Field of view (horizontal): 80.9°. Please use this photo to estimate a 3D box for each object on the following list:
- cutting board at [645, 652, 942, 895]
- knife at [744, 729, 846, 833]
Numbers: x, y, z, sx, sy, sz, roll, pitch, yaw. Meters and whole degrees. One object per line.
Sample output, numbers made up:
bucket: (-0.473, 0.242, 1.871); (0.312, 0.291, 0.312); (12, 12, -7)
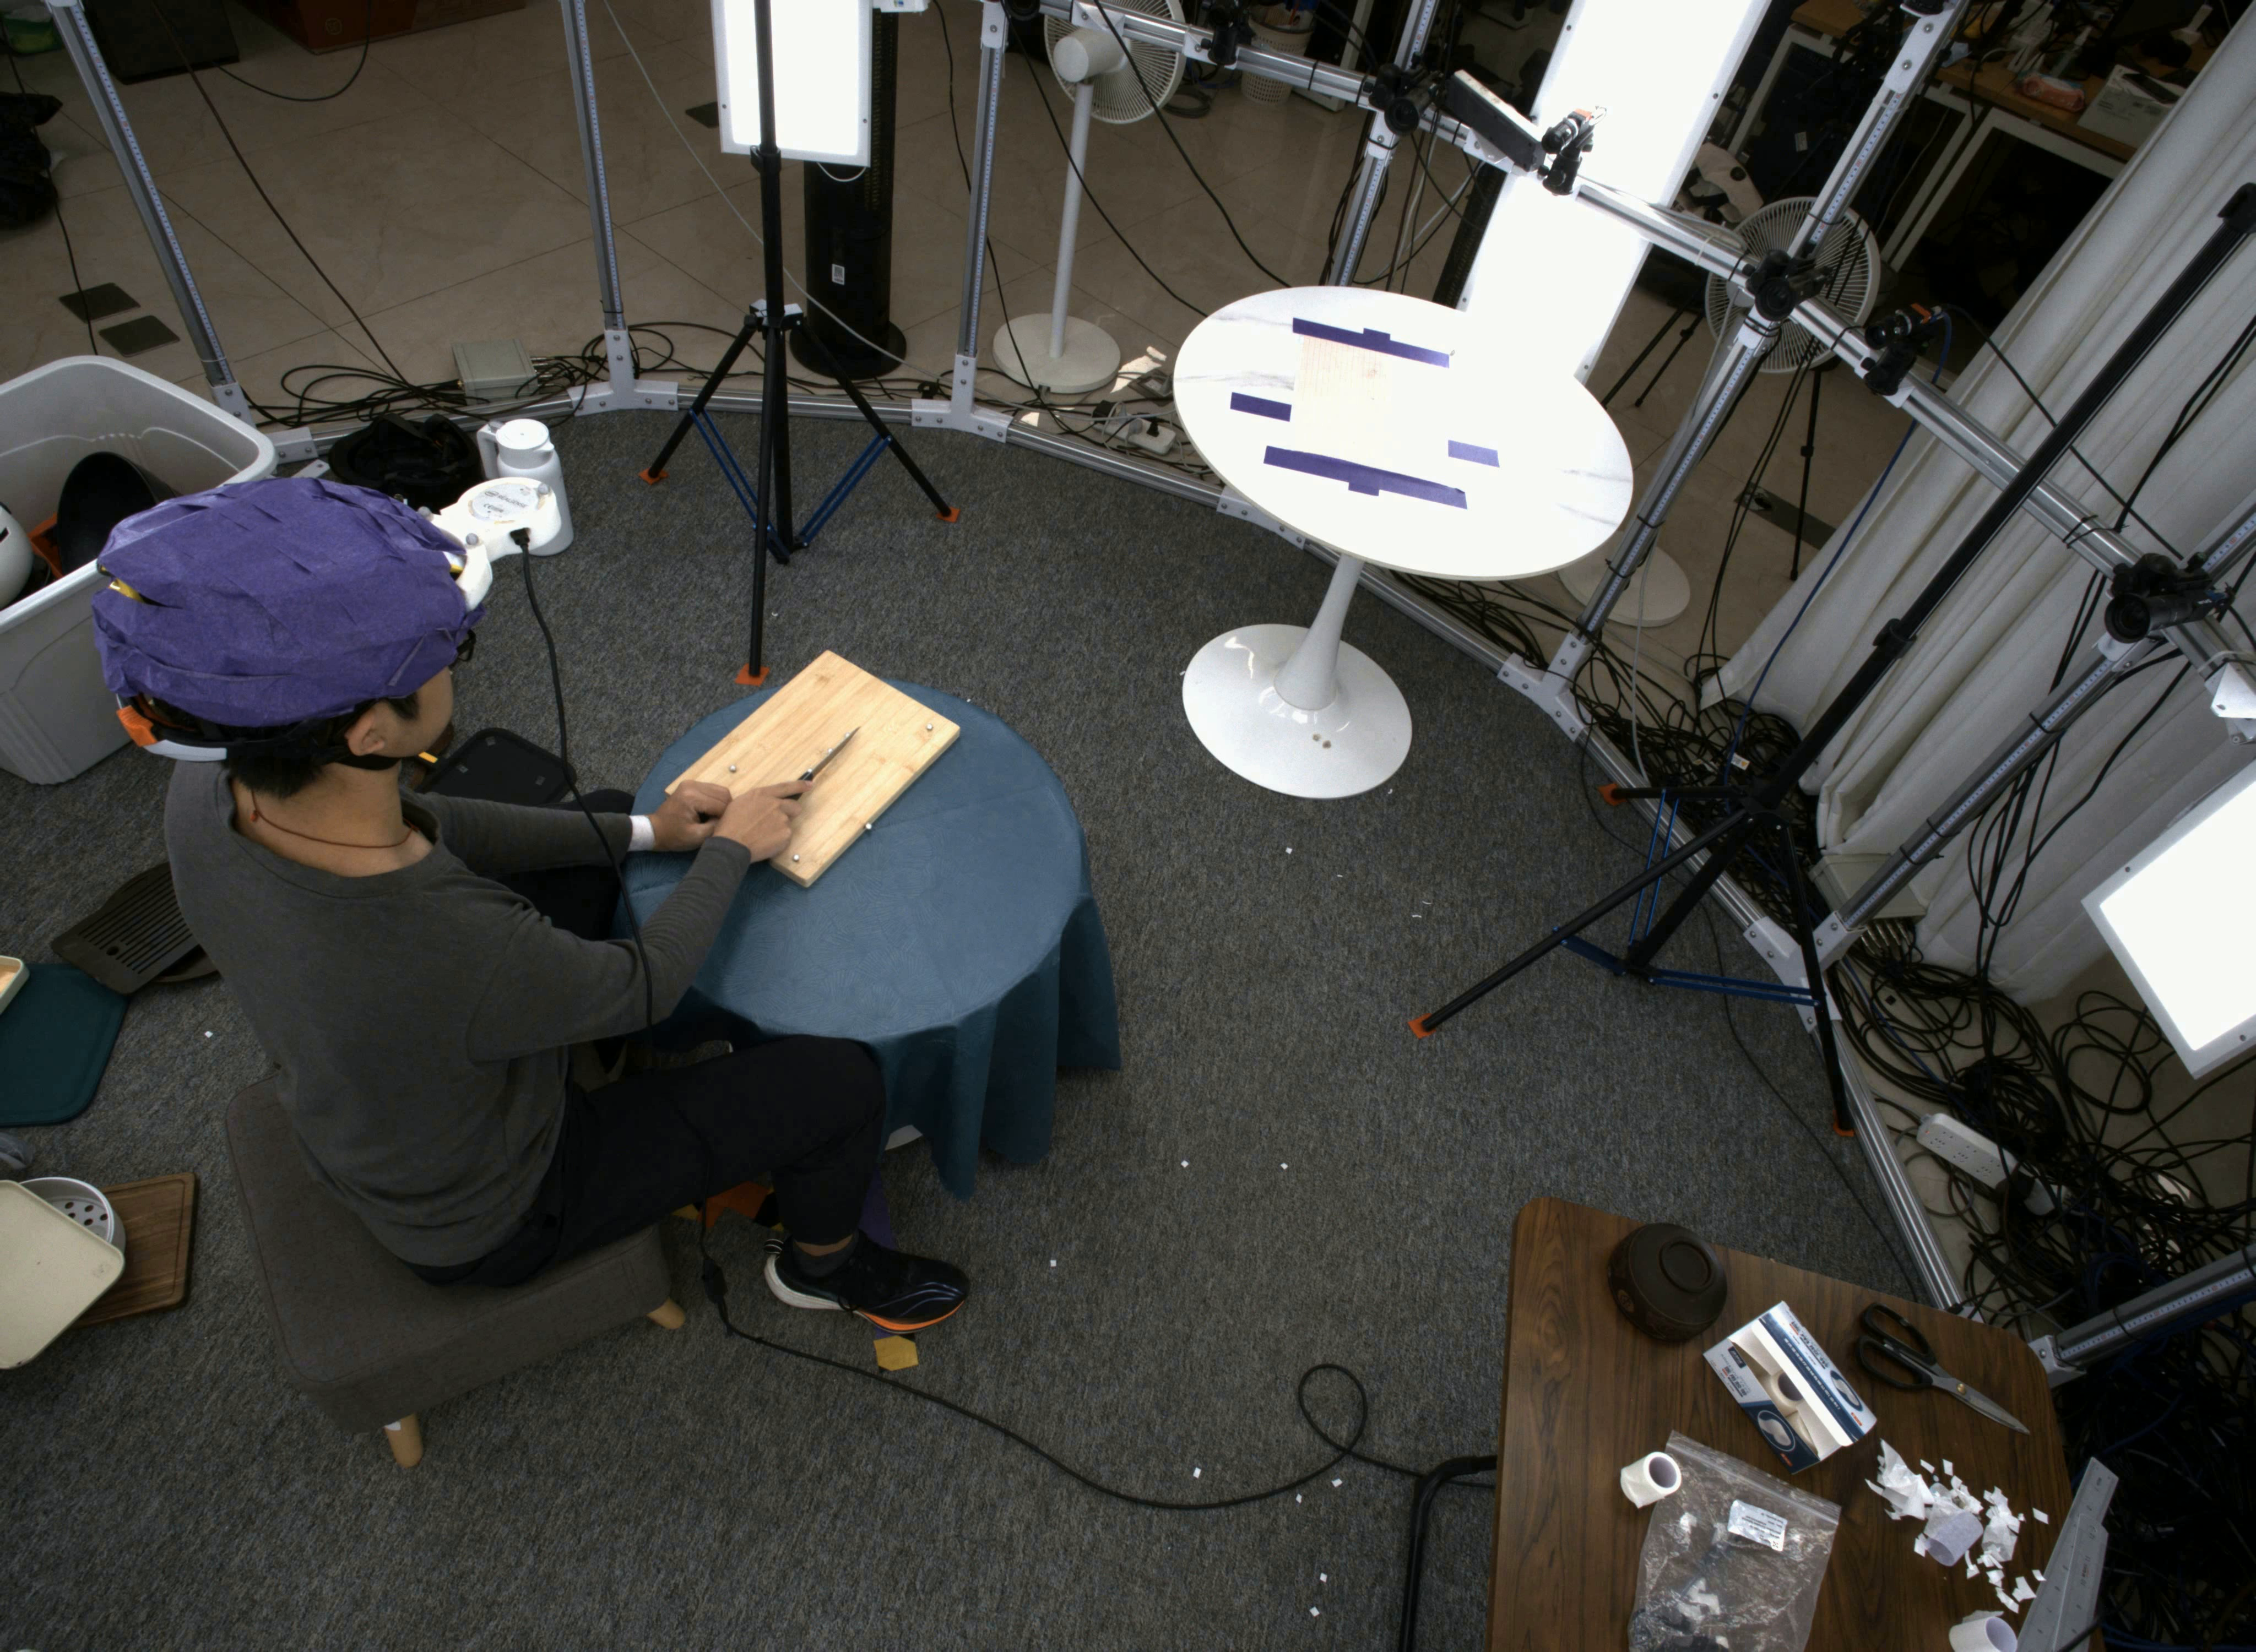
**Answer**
cutting board: (-0.451, -0.083, 1.780); (0.246, 0.024, 0.347); (29, 53, 9)
knife: (-0.441, -0.069, 1.734); (0.016, 0.025, 0.236); (31, 44, 2)
